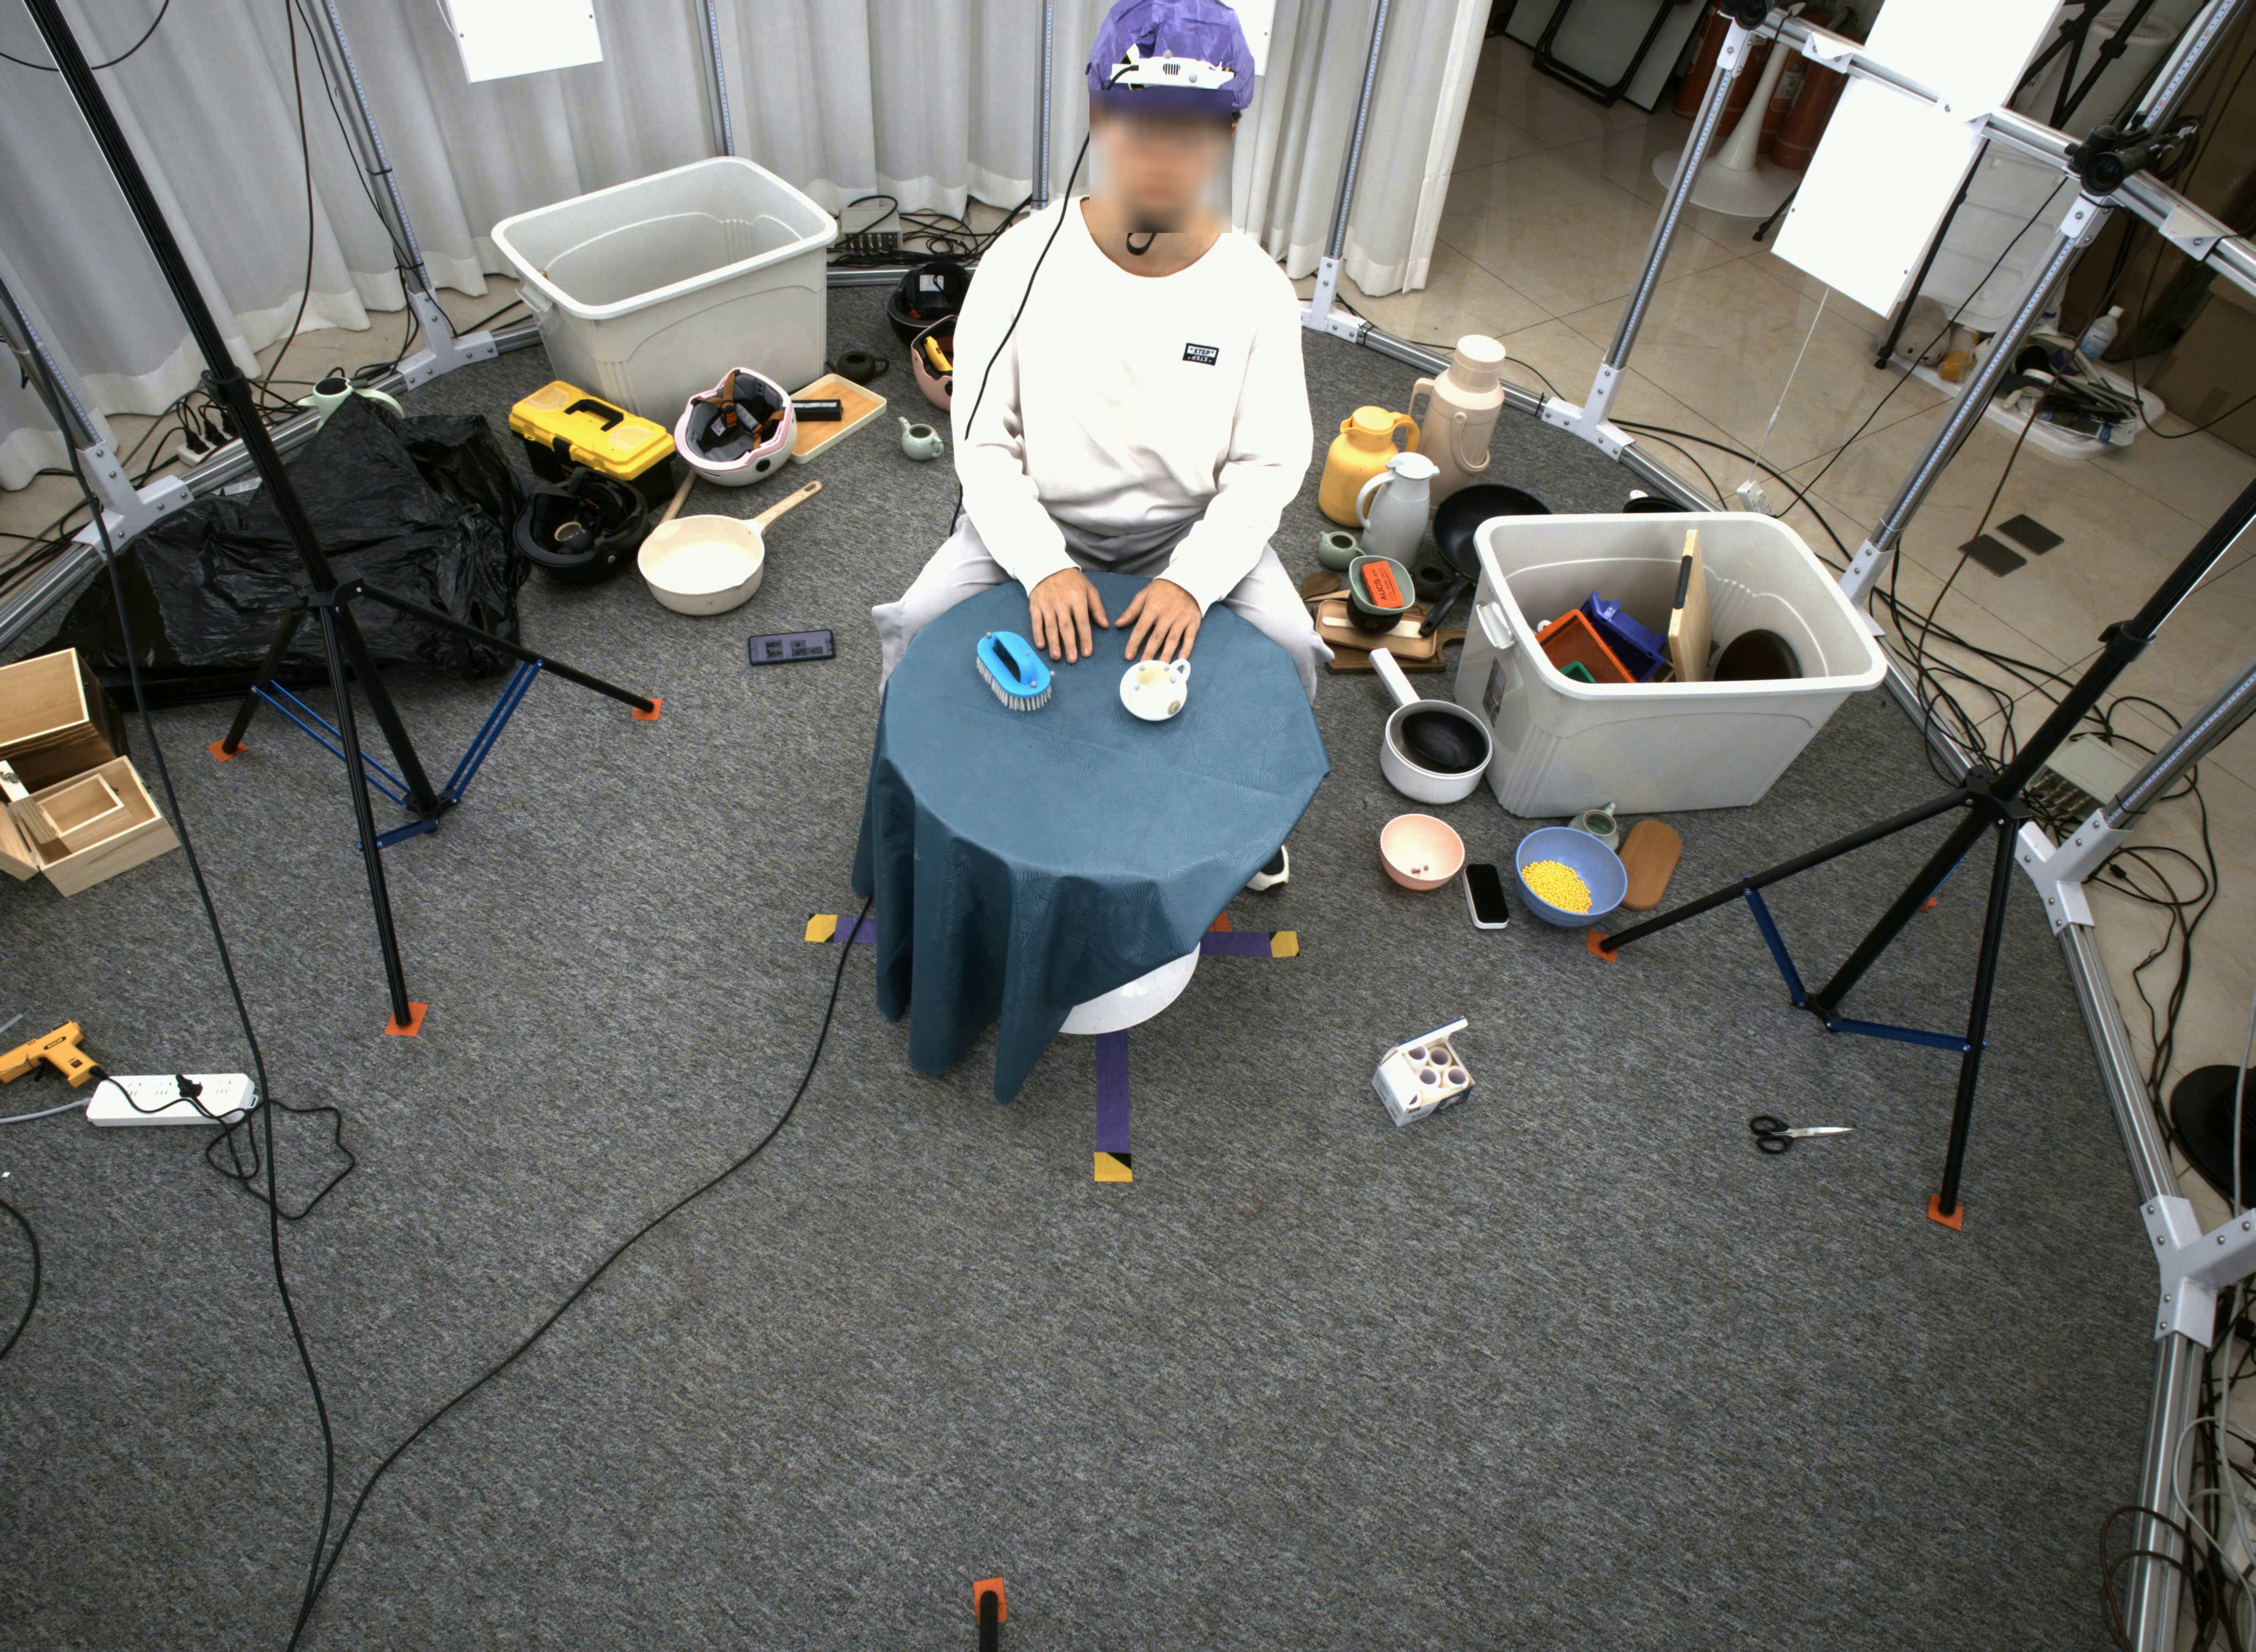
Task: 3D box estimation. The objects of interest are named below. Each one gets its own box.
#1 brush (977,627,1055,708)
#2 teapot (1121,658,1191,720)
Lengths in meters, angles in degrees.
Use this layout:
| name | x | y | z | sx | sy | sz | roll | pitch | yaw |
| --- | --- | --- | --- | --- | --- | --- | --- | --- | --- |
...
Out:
| name | x | y | z | sx | sy | sz | roll | pitch | yaw |
| --- | --- | --- | --- | --- | --- | --- | --- | --- | --- |
| brush | -0.161 | -0.234 | 1.814 | 0.084 | 0.062 | 0.145 | -24 | 54 | -17 |
| teapot | 0.044 | -0.196 | 1.803 | 0.094 | 0.055 | 0.129 | 31 | 53 | 26 |
